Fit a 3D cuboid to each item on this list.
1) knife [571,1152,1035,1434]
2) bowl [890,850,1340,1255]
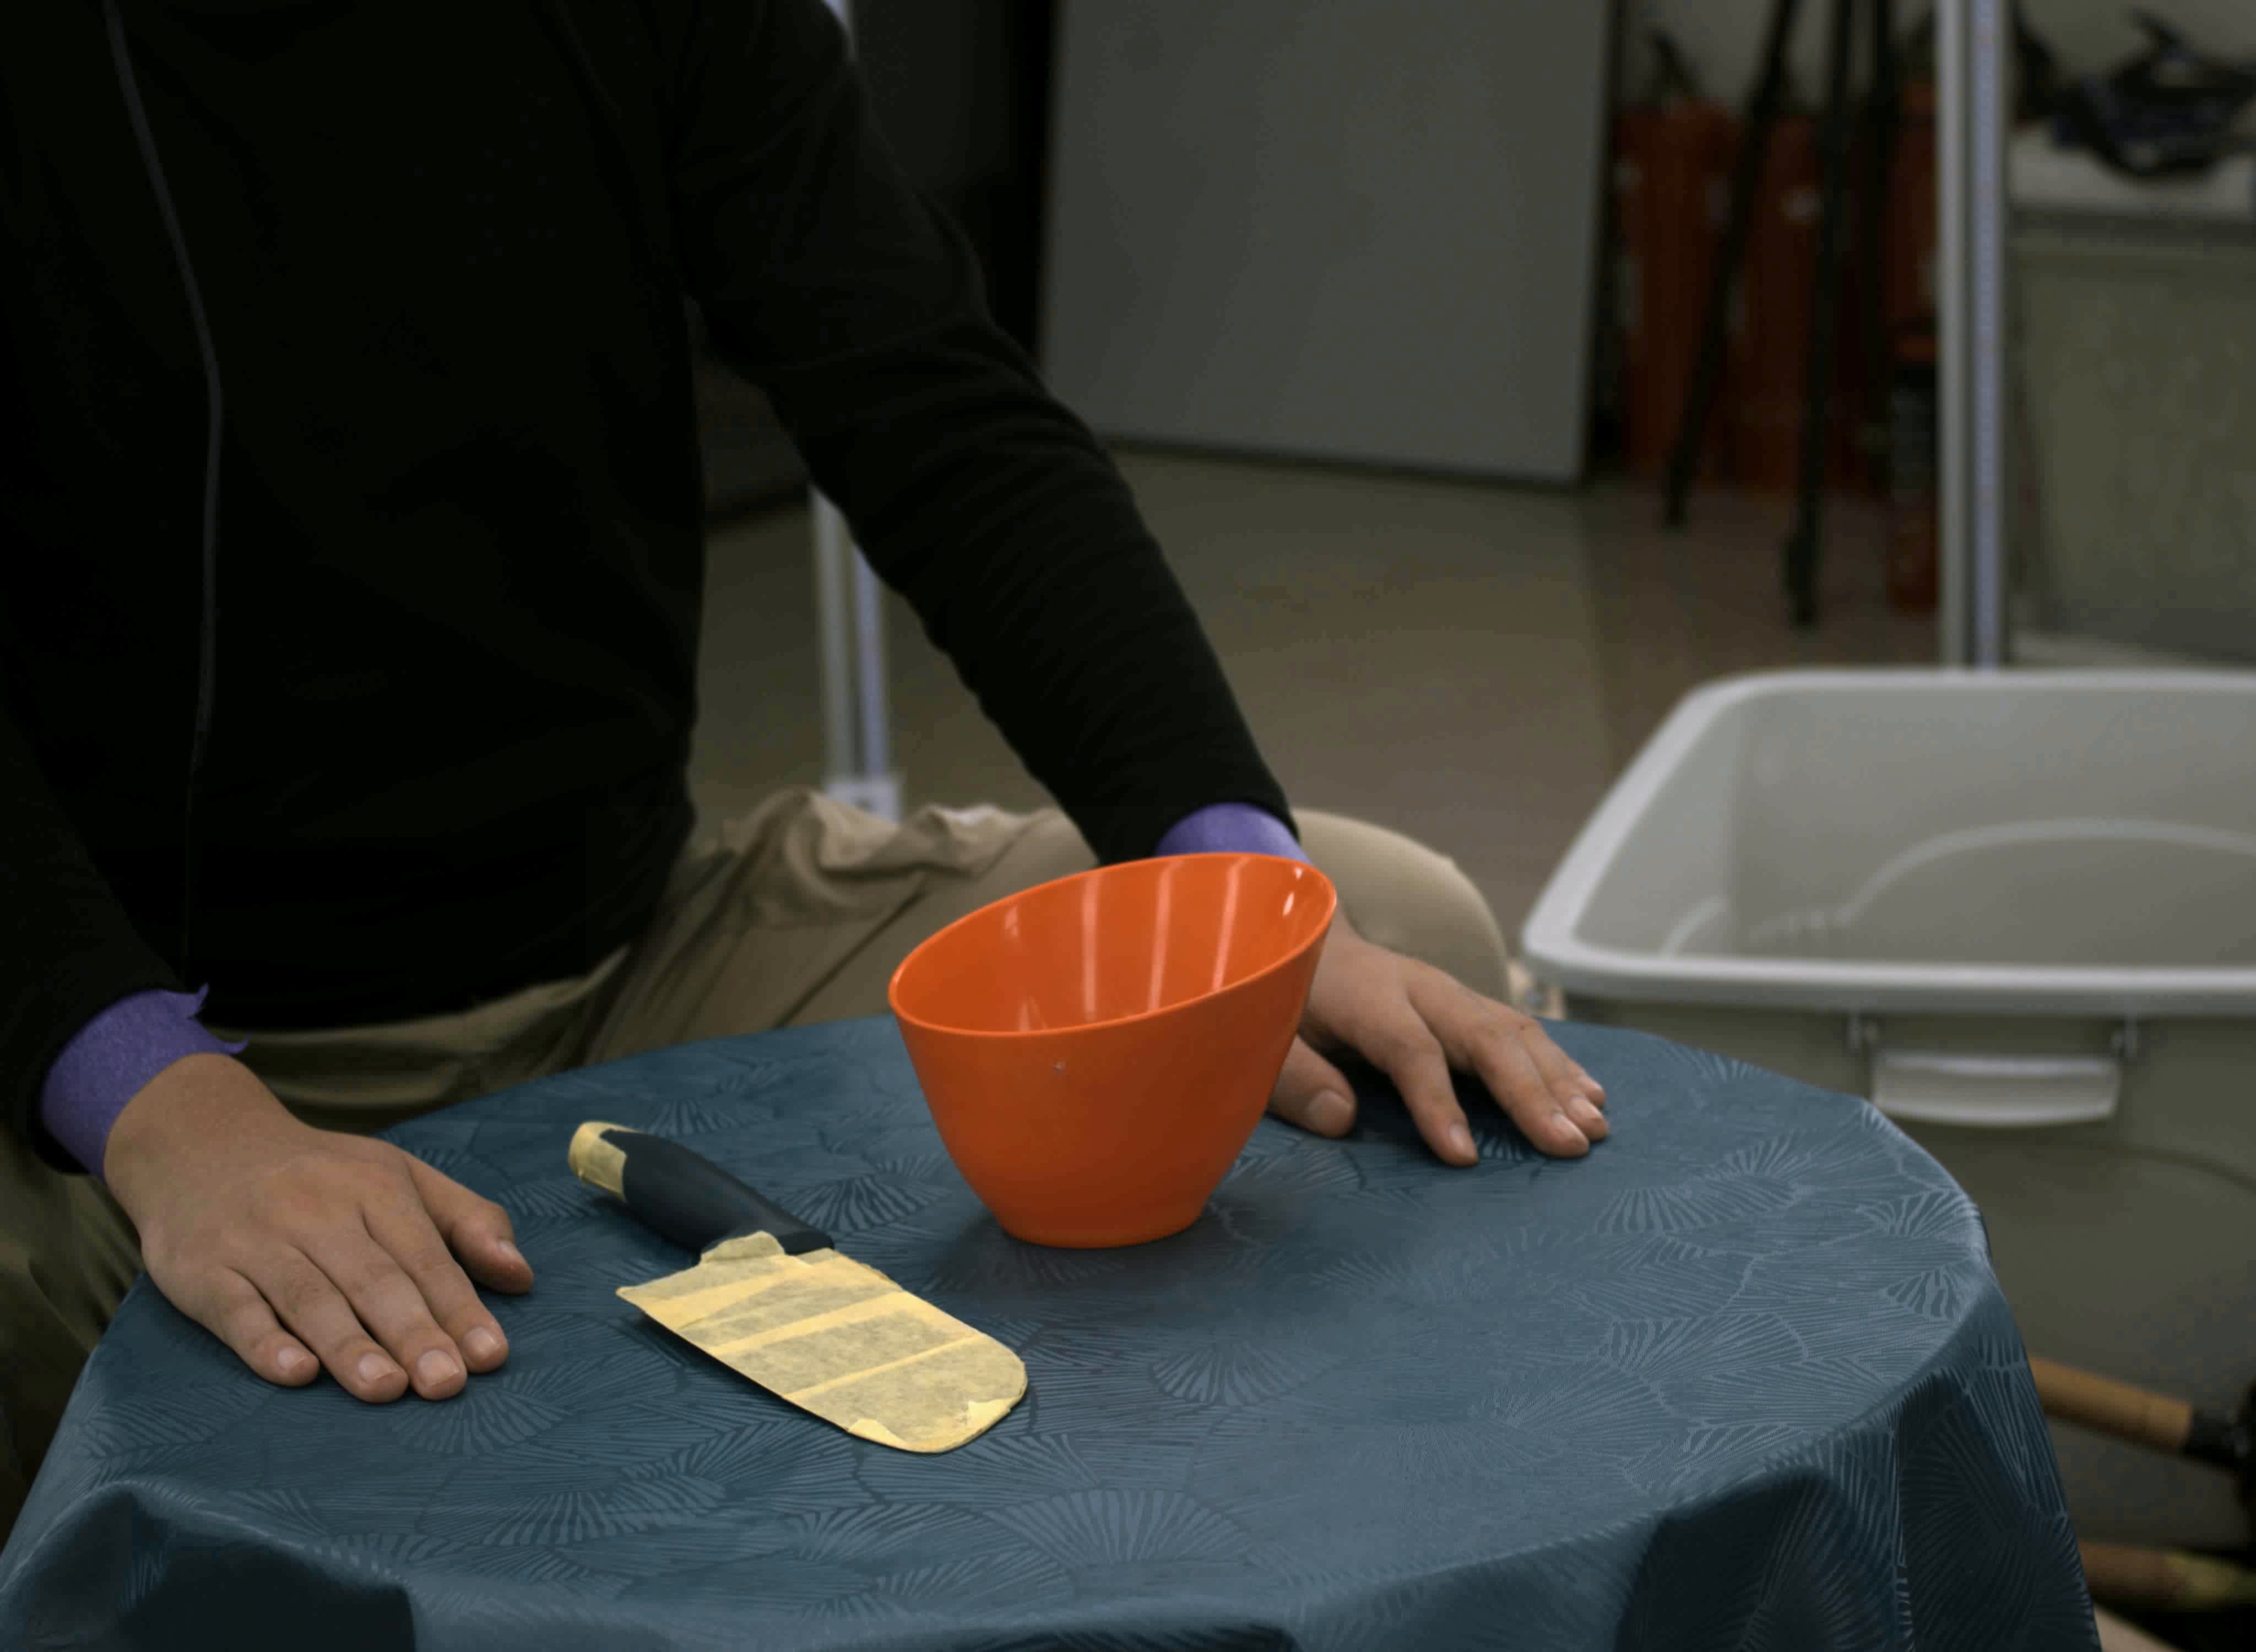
[{"bbox_3d":[-0.114,0.146,1.679,0.079,0.027,0.292,-10,16,-28],"label":"knife"},{"bbox_3d":[-0.001,0.076,1.741,0.146,0.106,0.148,-4,15,0],"label":"bowl"}]
